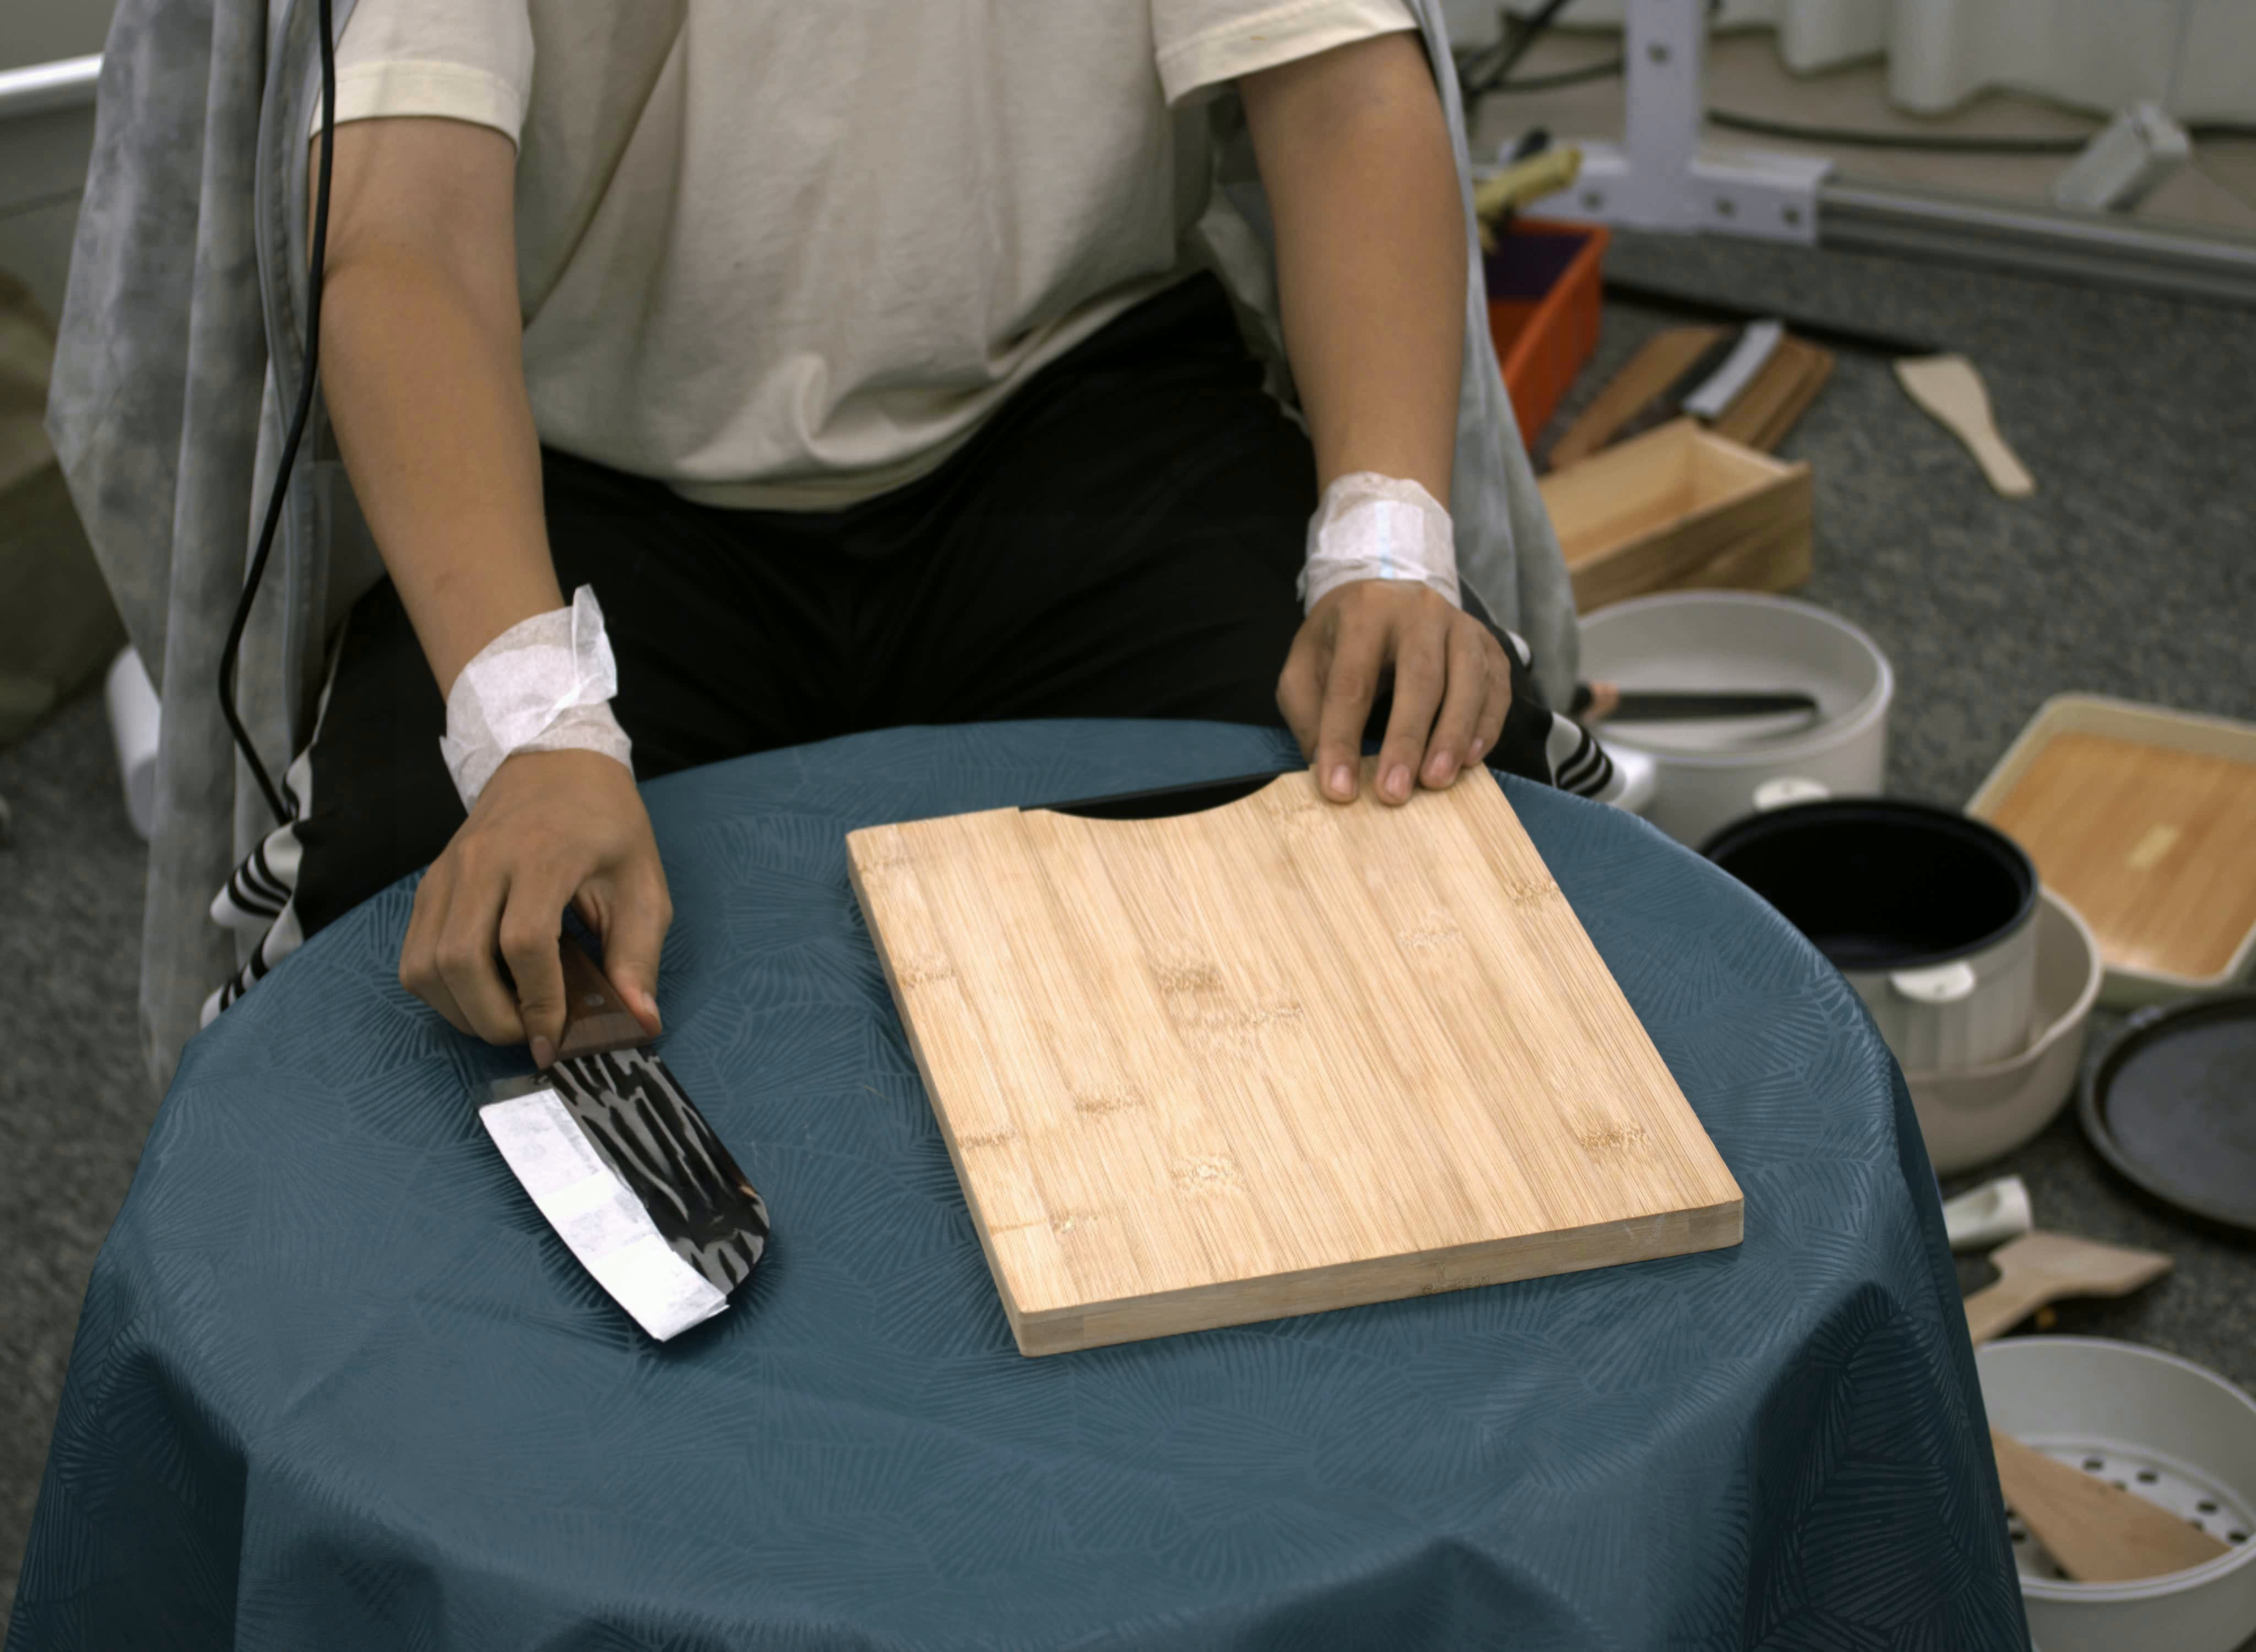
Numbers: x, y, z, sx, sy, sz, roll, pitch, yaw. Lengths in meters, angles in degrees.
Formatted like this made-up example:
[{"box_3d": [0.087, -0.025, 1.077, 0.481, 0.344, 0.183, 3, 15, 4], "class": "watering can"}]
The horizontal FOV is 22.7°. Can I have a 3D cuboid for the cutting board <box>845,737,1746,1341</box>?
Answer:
[{"box_3d": [0.047, 0.067, 1.943, 0.250, 0.023, 0.352, -8, 27, -11], "class": "cutting board"}]

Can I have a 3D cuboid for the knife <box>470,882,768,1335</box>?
[{"box_3d": [-0.184, 0.095, 1.905, 0.068, 0.024, 0.302, -14, 29, -17], "class": "knife"}]
